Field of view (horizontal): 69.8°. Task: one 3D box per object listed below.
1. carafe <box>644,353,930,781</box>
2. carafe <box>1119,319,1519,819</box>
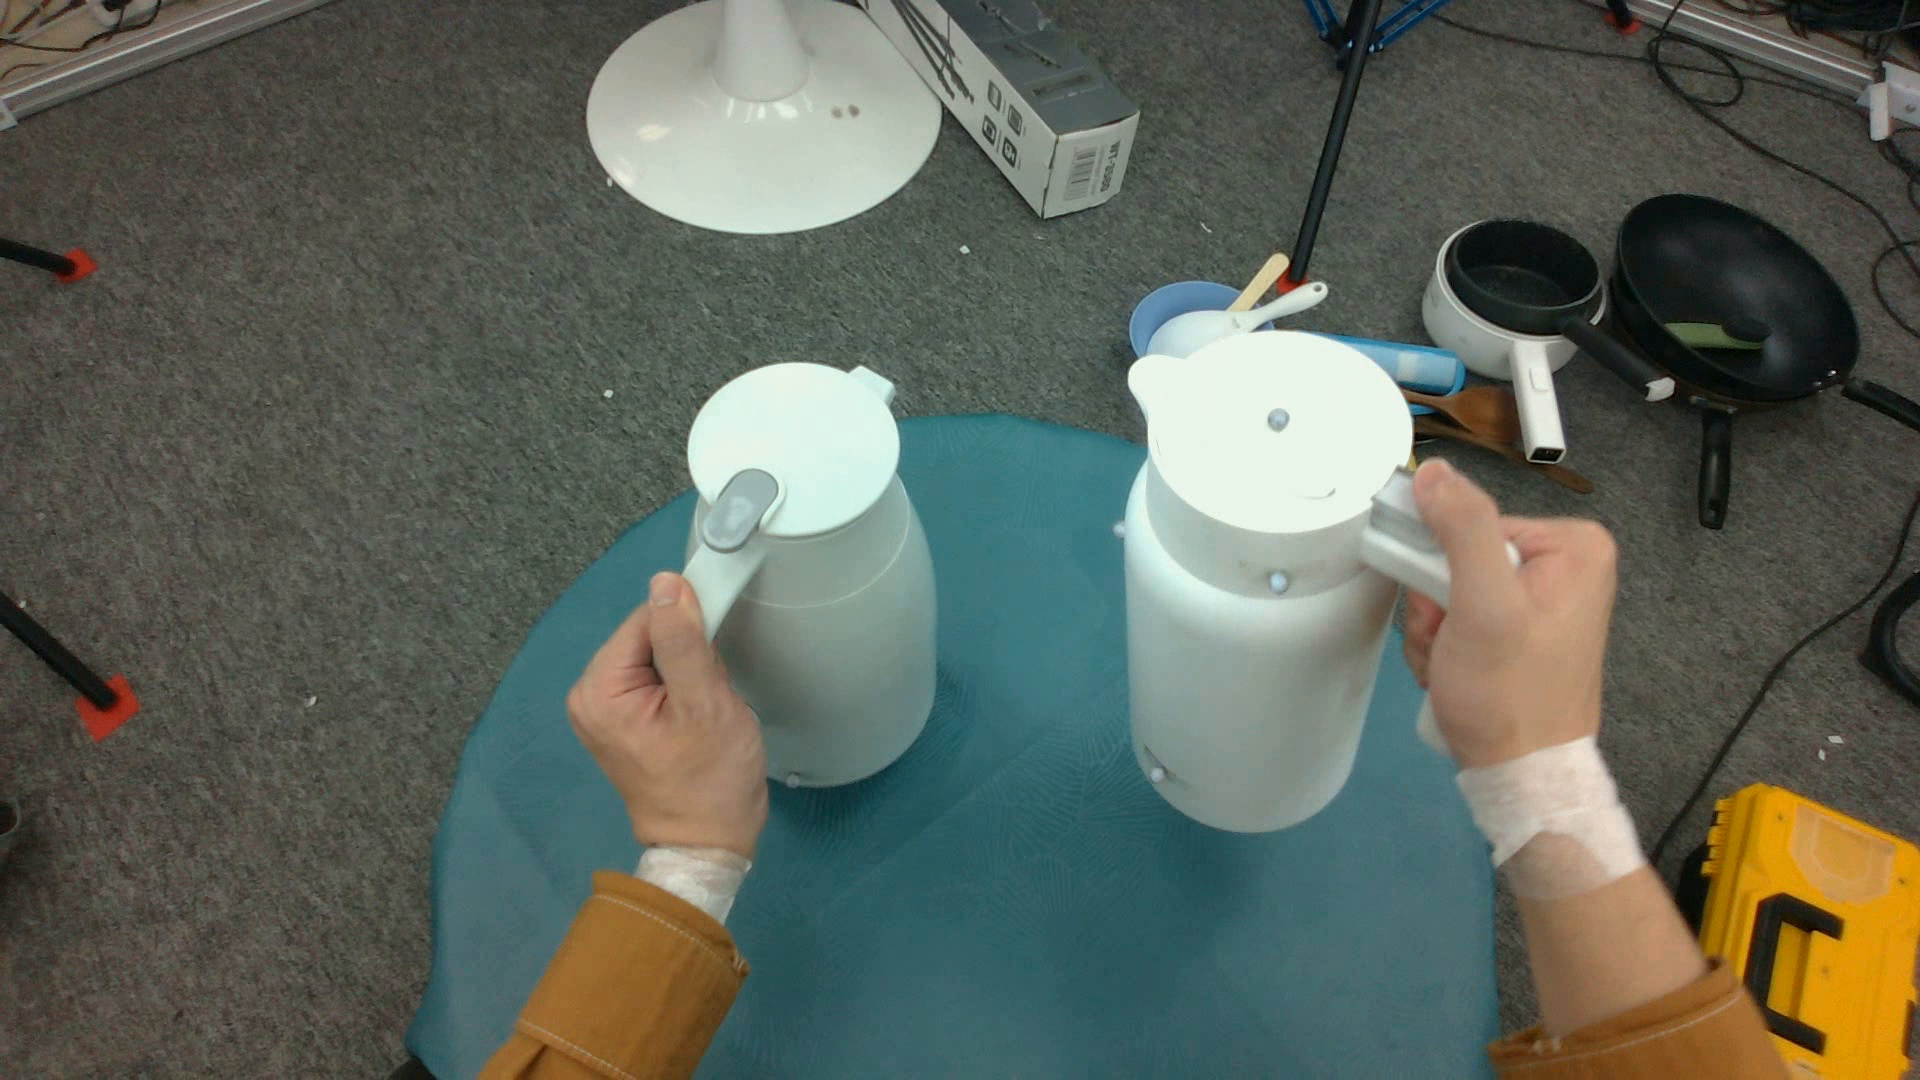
[{"bbox_3d":[-0.089,0.029,0.684,0.132,0.247,0.168,29,62,14],"label":"carafe"},{"bbox_3d":[0.147,0.032,0.623,0.173,0.267,0.124,32,63,25],"label":"carafe"}]
